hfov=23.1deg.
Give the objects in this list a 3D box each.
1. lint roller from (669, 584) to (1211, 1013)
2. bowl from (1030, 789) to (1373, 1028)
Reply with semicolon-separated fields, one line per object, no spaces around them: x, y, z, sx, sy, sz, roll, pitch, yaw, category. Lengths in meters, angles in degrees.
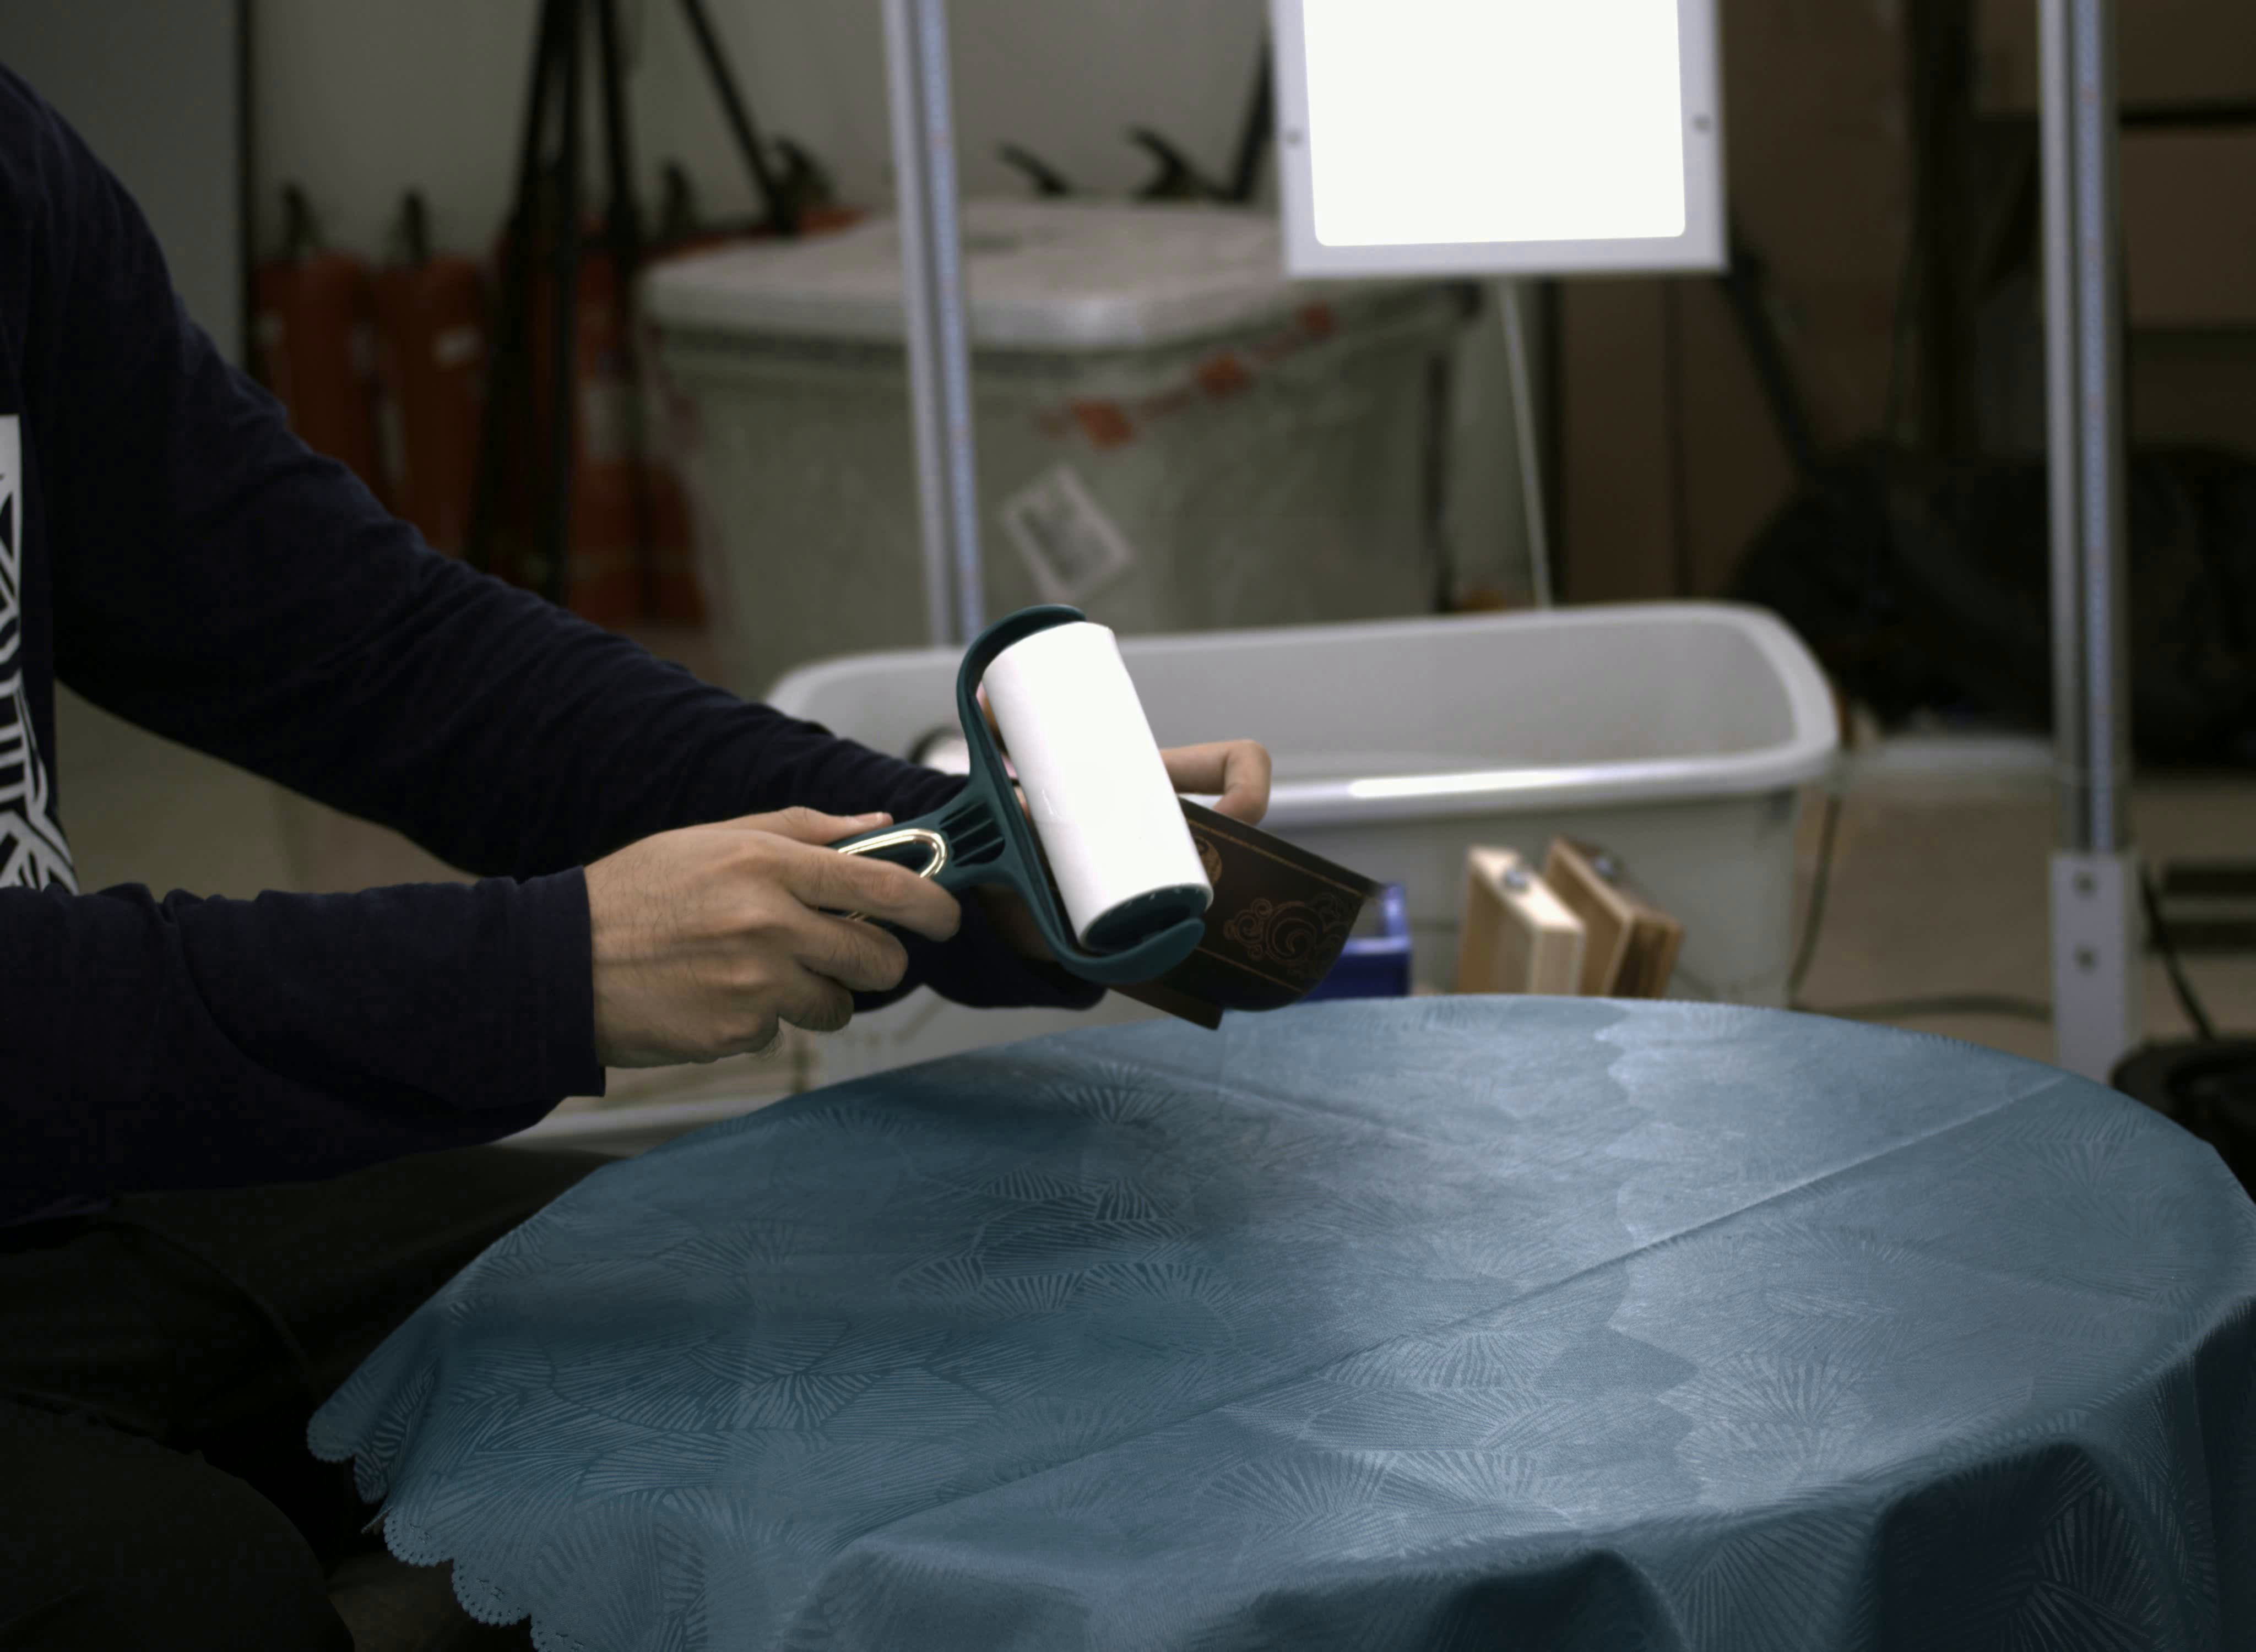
-0.073;0.014;1.815;0.180;0.135;0.048;-22;-22;4;lint roller
0.019;0.028;1.889;0.117;0.070;0.118;19;0;-2;bowl
